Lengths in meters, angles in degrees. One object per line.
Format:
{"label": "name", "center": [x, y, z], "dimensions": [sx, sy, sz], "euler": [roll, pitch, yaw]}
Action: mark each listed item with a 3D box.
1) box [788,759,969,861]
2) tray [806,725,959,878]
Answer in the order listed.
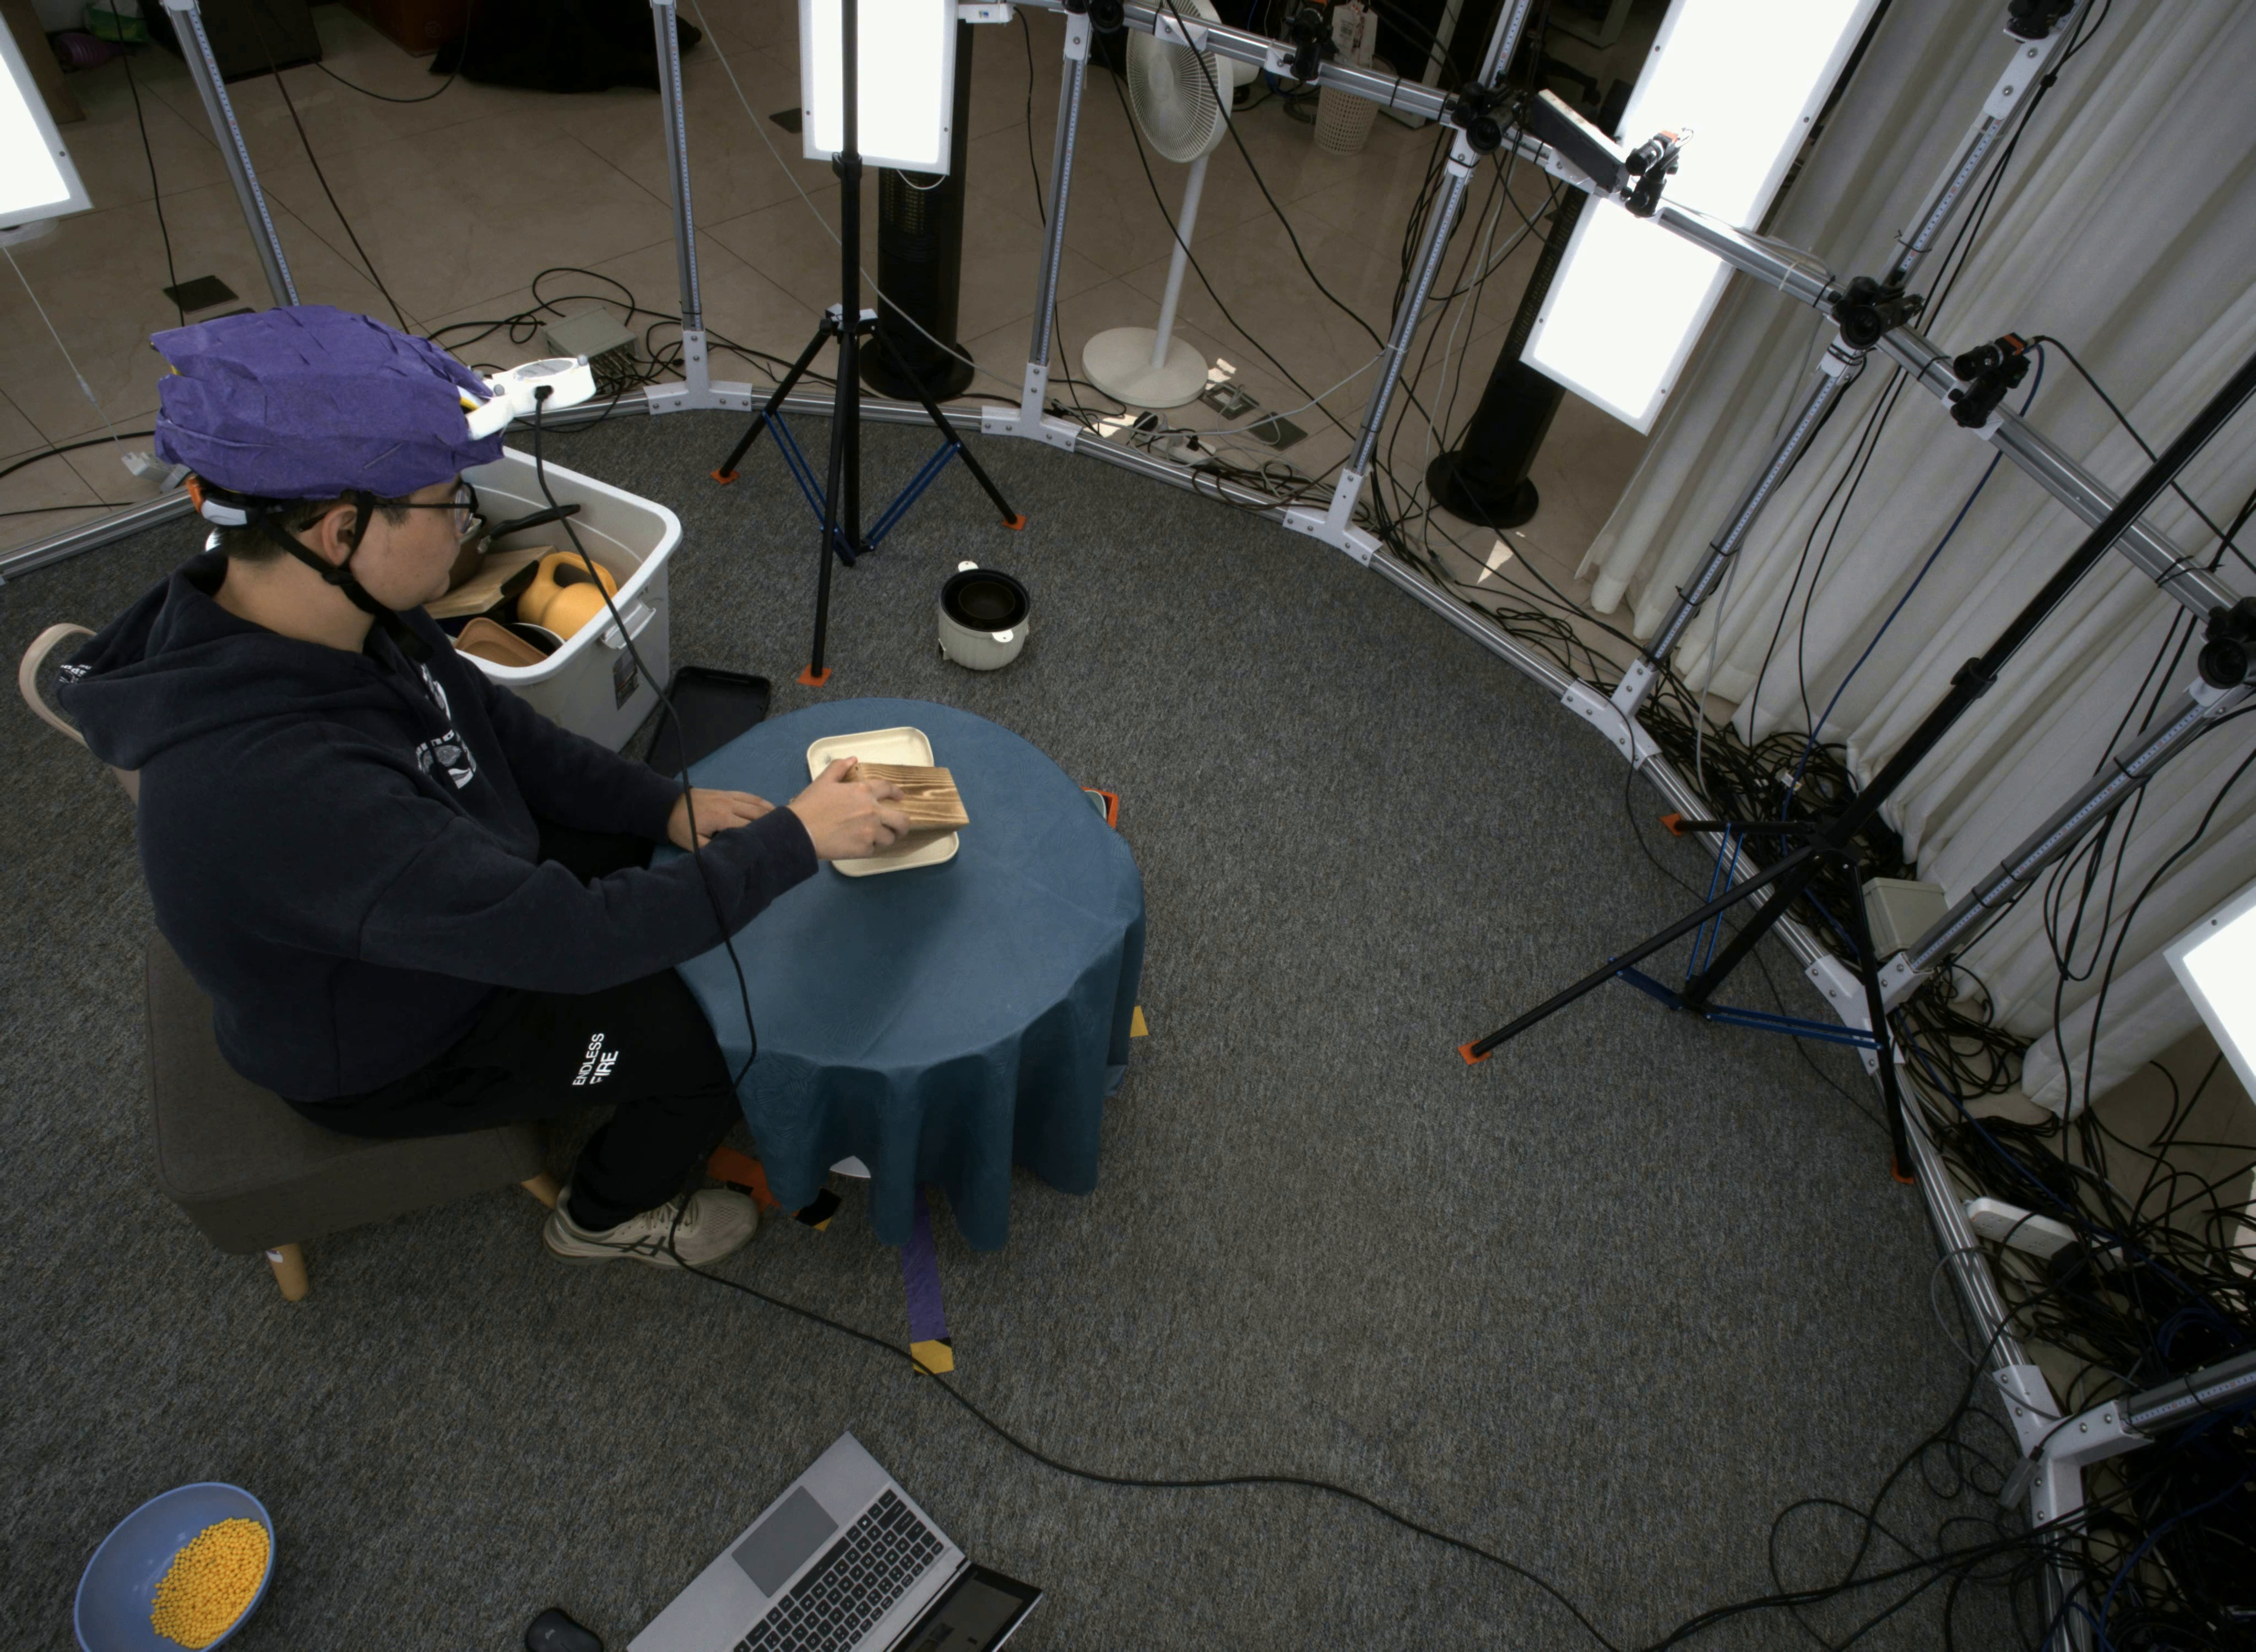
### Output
{"label": "box", "center": [-0.299, -0.019, 1.585], "dimensions": [0.106, 0.214, 0.080], "euler": [-26, 81, 19]}
{"label": "tray", "center": [-0.334, -0.035, 1.758], "dimensions": [0.172, 0.018, 0.234], "euler": [-10, 57, -20]}
